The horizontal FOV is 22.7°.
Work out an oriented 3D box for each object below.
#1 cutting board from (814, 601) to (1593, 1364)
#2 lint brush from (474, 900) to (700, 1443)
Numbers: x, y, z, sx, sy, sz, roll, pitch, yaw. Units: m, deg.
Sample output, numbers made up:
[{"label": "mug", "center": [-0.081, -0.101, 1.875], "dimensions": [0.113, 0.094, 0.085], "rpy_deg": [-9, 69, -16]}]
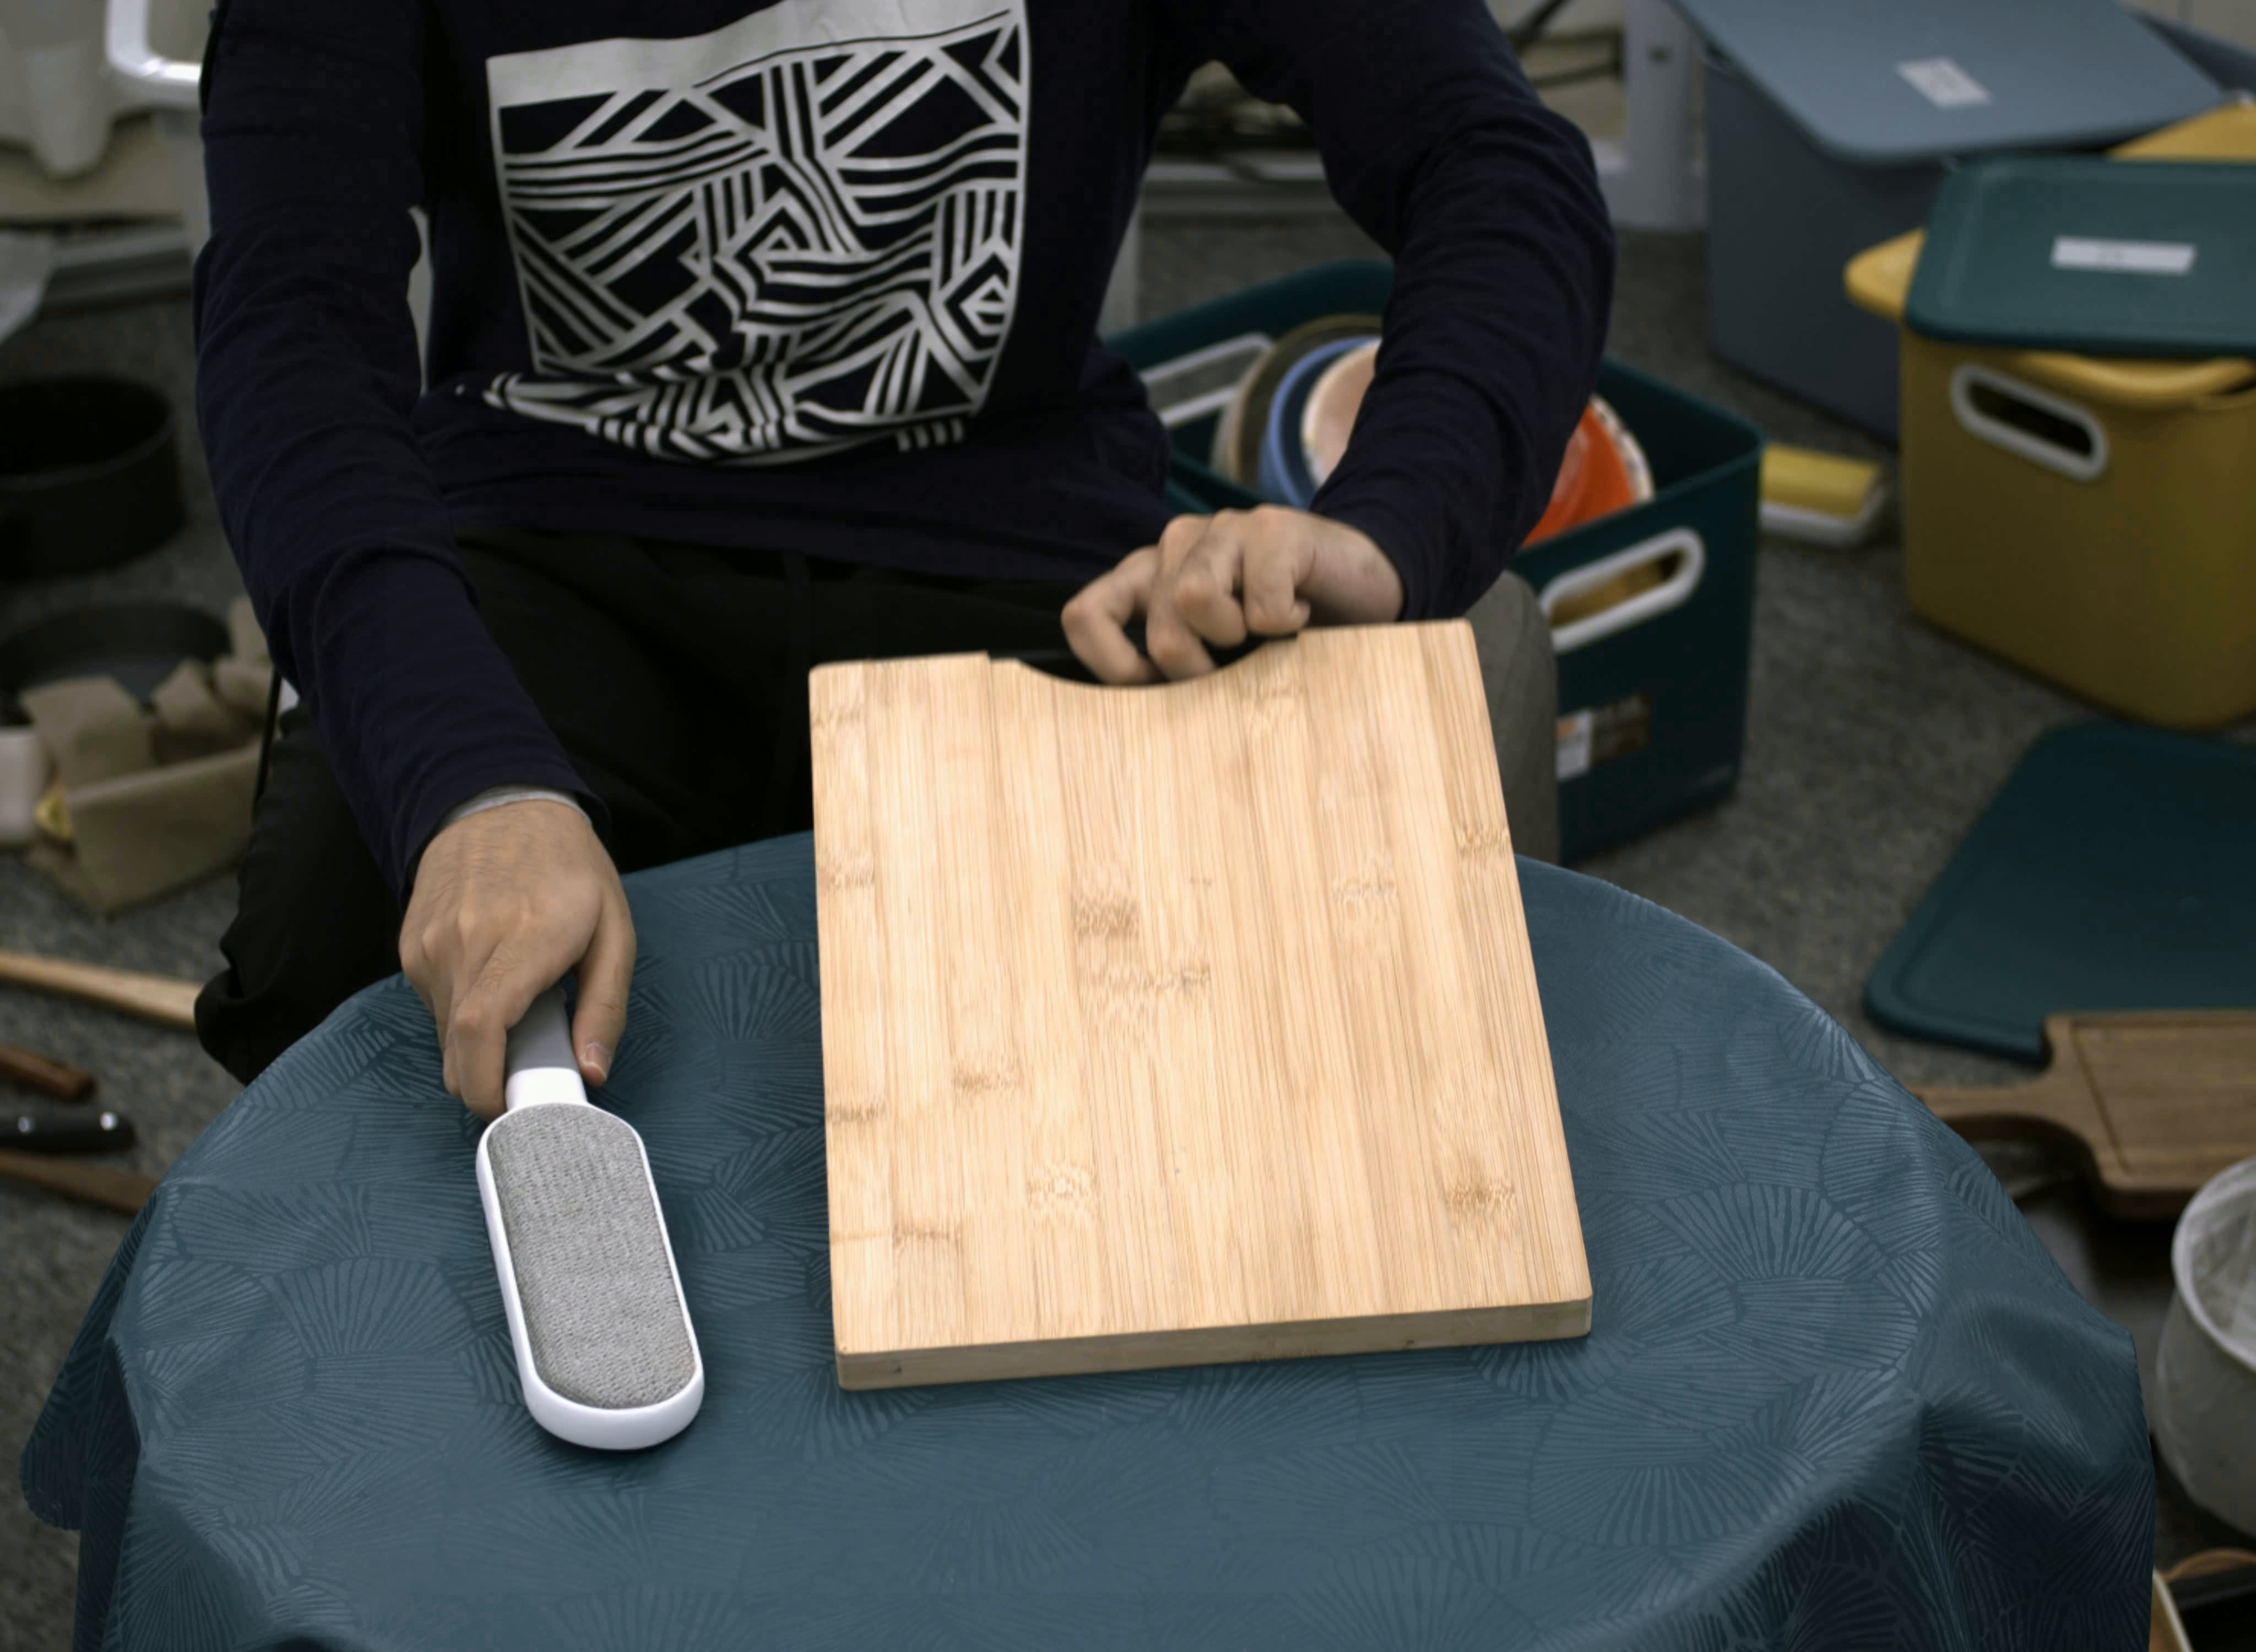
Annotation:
[{"label": "cutting board", "center": [0.017, 0.047, 1.897], "dimensions": [0.250, 0.023, 0.355], "rpy_deg": [-4, 41, -3]}, {"label": "lint brush", "center": [-0.186, 0.109, 1.855], "dimensions": [0.060, 0.020, 0.313], "rpy_deg": [-6, 31, -10]}]
